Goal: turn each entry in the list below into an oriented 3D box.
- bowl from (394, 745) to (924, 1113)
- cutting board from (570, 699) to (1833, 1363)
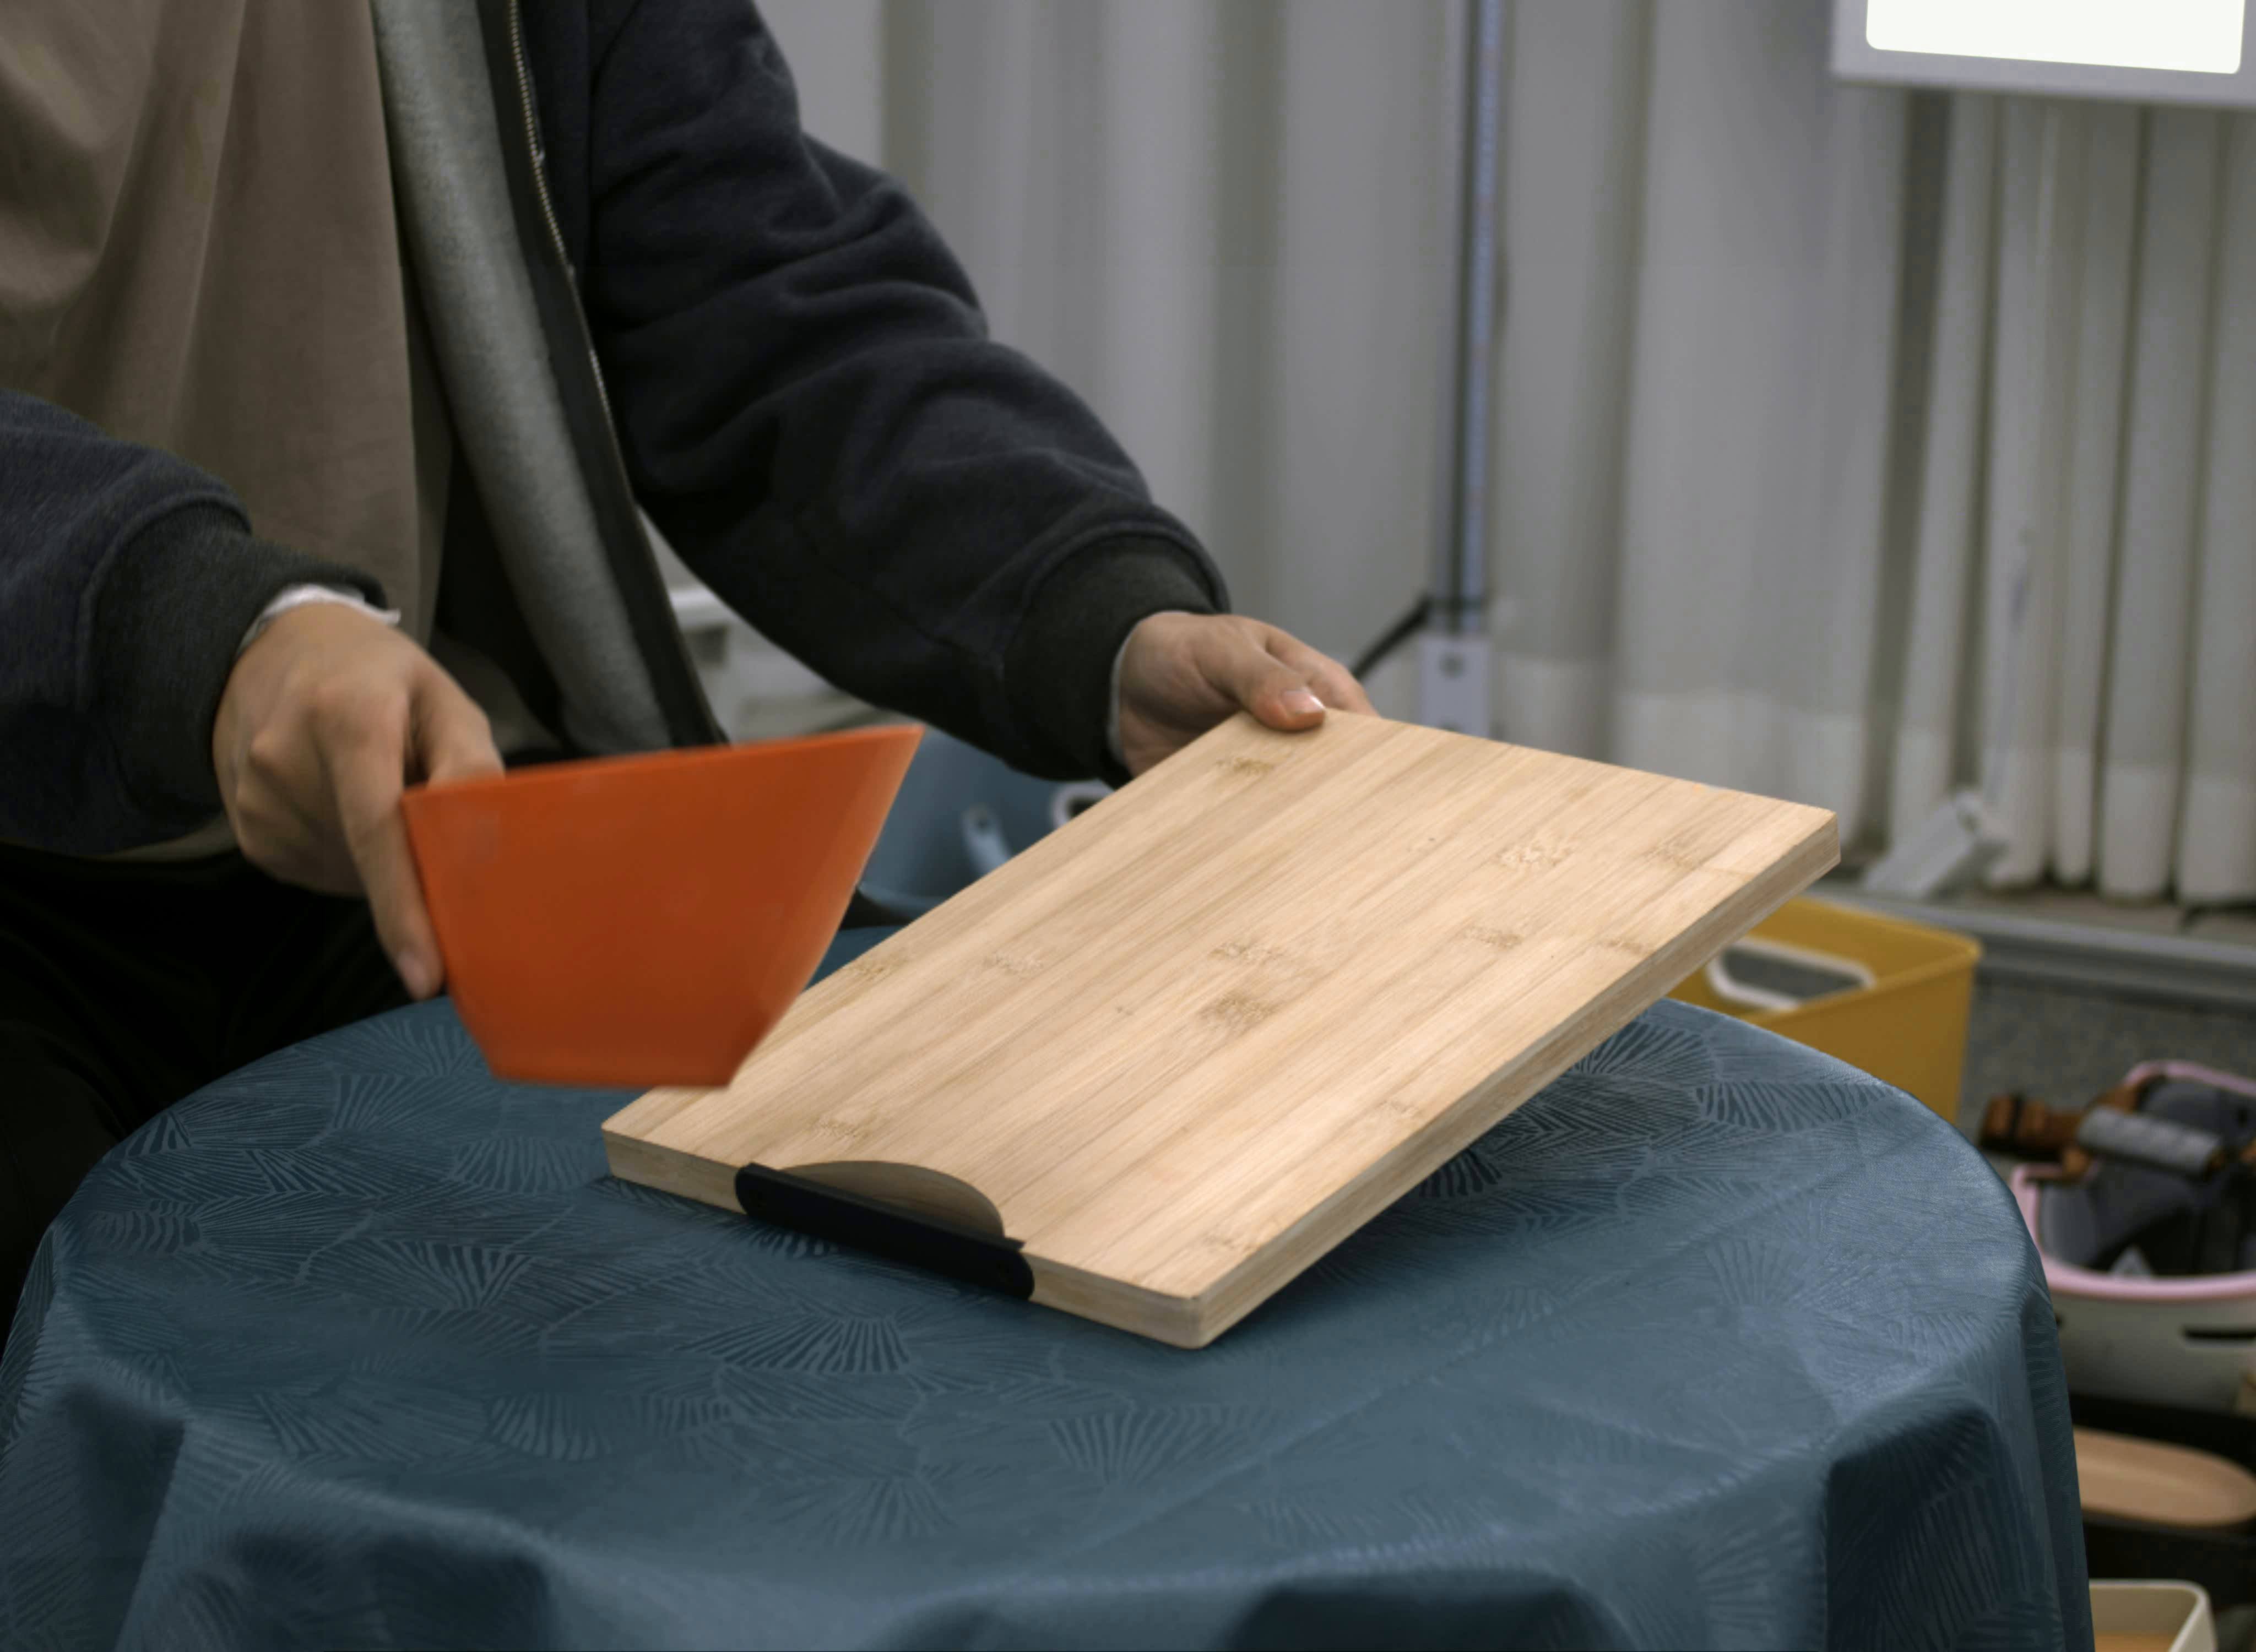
[{"bbox_3d":[-0.133,0.026,1.475,0.147,0.105,0.148,3,2,0],"label":"bowl"},{"bbox_3d":[0.030,0.055,1.666,0.247,0.024,0.349,12,32,38],"label":"cutting board"}]
